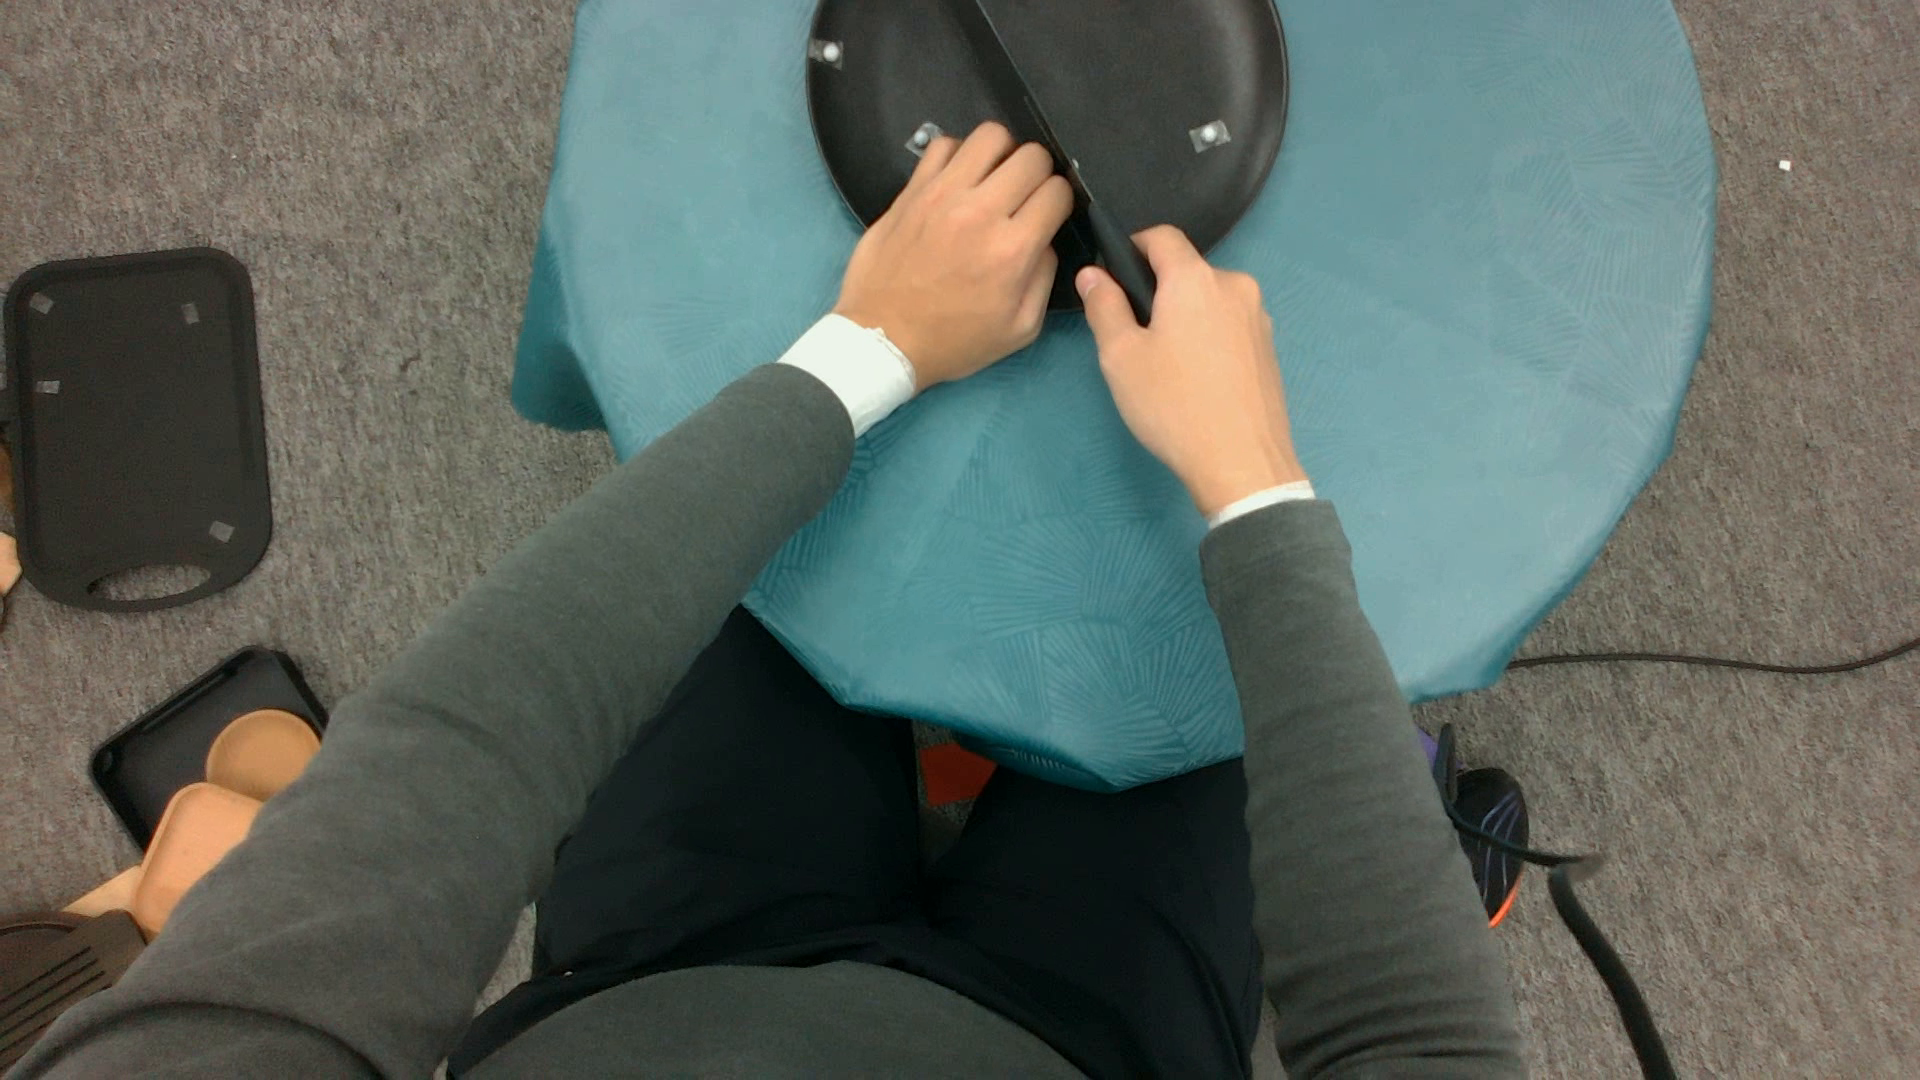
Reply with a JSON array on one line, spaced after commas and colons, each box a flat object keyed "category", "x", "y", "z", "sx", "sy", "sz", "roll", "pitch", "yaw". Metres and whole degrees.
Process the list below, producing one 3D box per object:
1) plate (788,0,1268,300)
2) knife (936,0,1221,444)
[{"category": "plate", "x": 0.035, "y": -0.239, "z": 0.703, "sx": 0.244, "sy": 0.023, "sz": 0.244, "roll": 0, "pitch": 83, "yaw": -2}, {"category": "knife", "x": 0.042, "y": -0.179, "z": 0.659, "sx": 0.021, "sy": 0.081, "sz": 0.302, "roll": -29, "pitch": 81, "yaw": -2}]
